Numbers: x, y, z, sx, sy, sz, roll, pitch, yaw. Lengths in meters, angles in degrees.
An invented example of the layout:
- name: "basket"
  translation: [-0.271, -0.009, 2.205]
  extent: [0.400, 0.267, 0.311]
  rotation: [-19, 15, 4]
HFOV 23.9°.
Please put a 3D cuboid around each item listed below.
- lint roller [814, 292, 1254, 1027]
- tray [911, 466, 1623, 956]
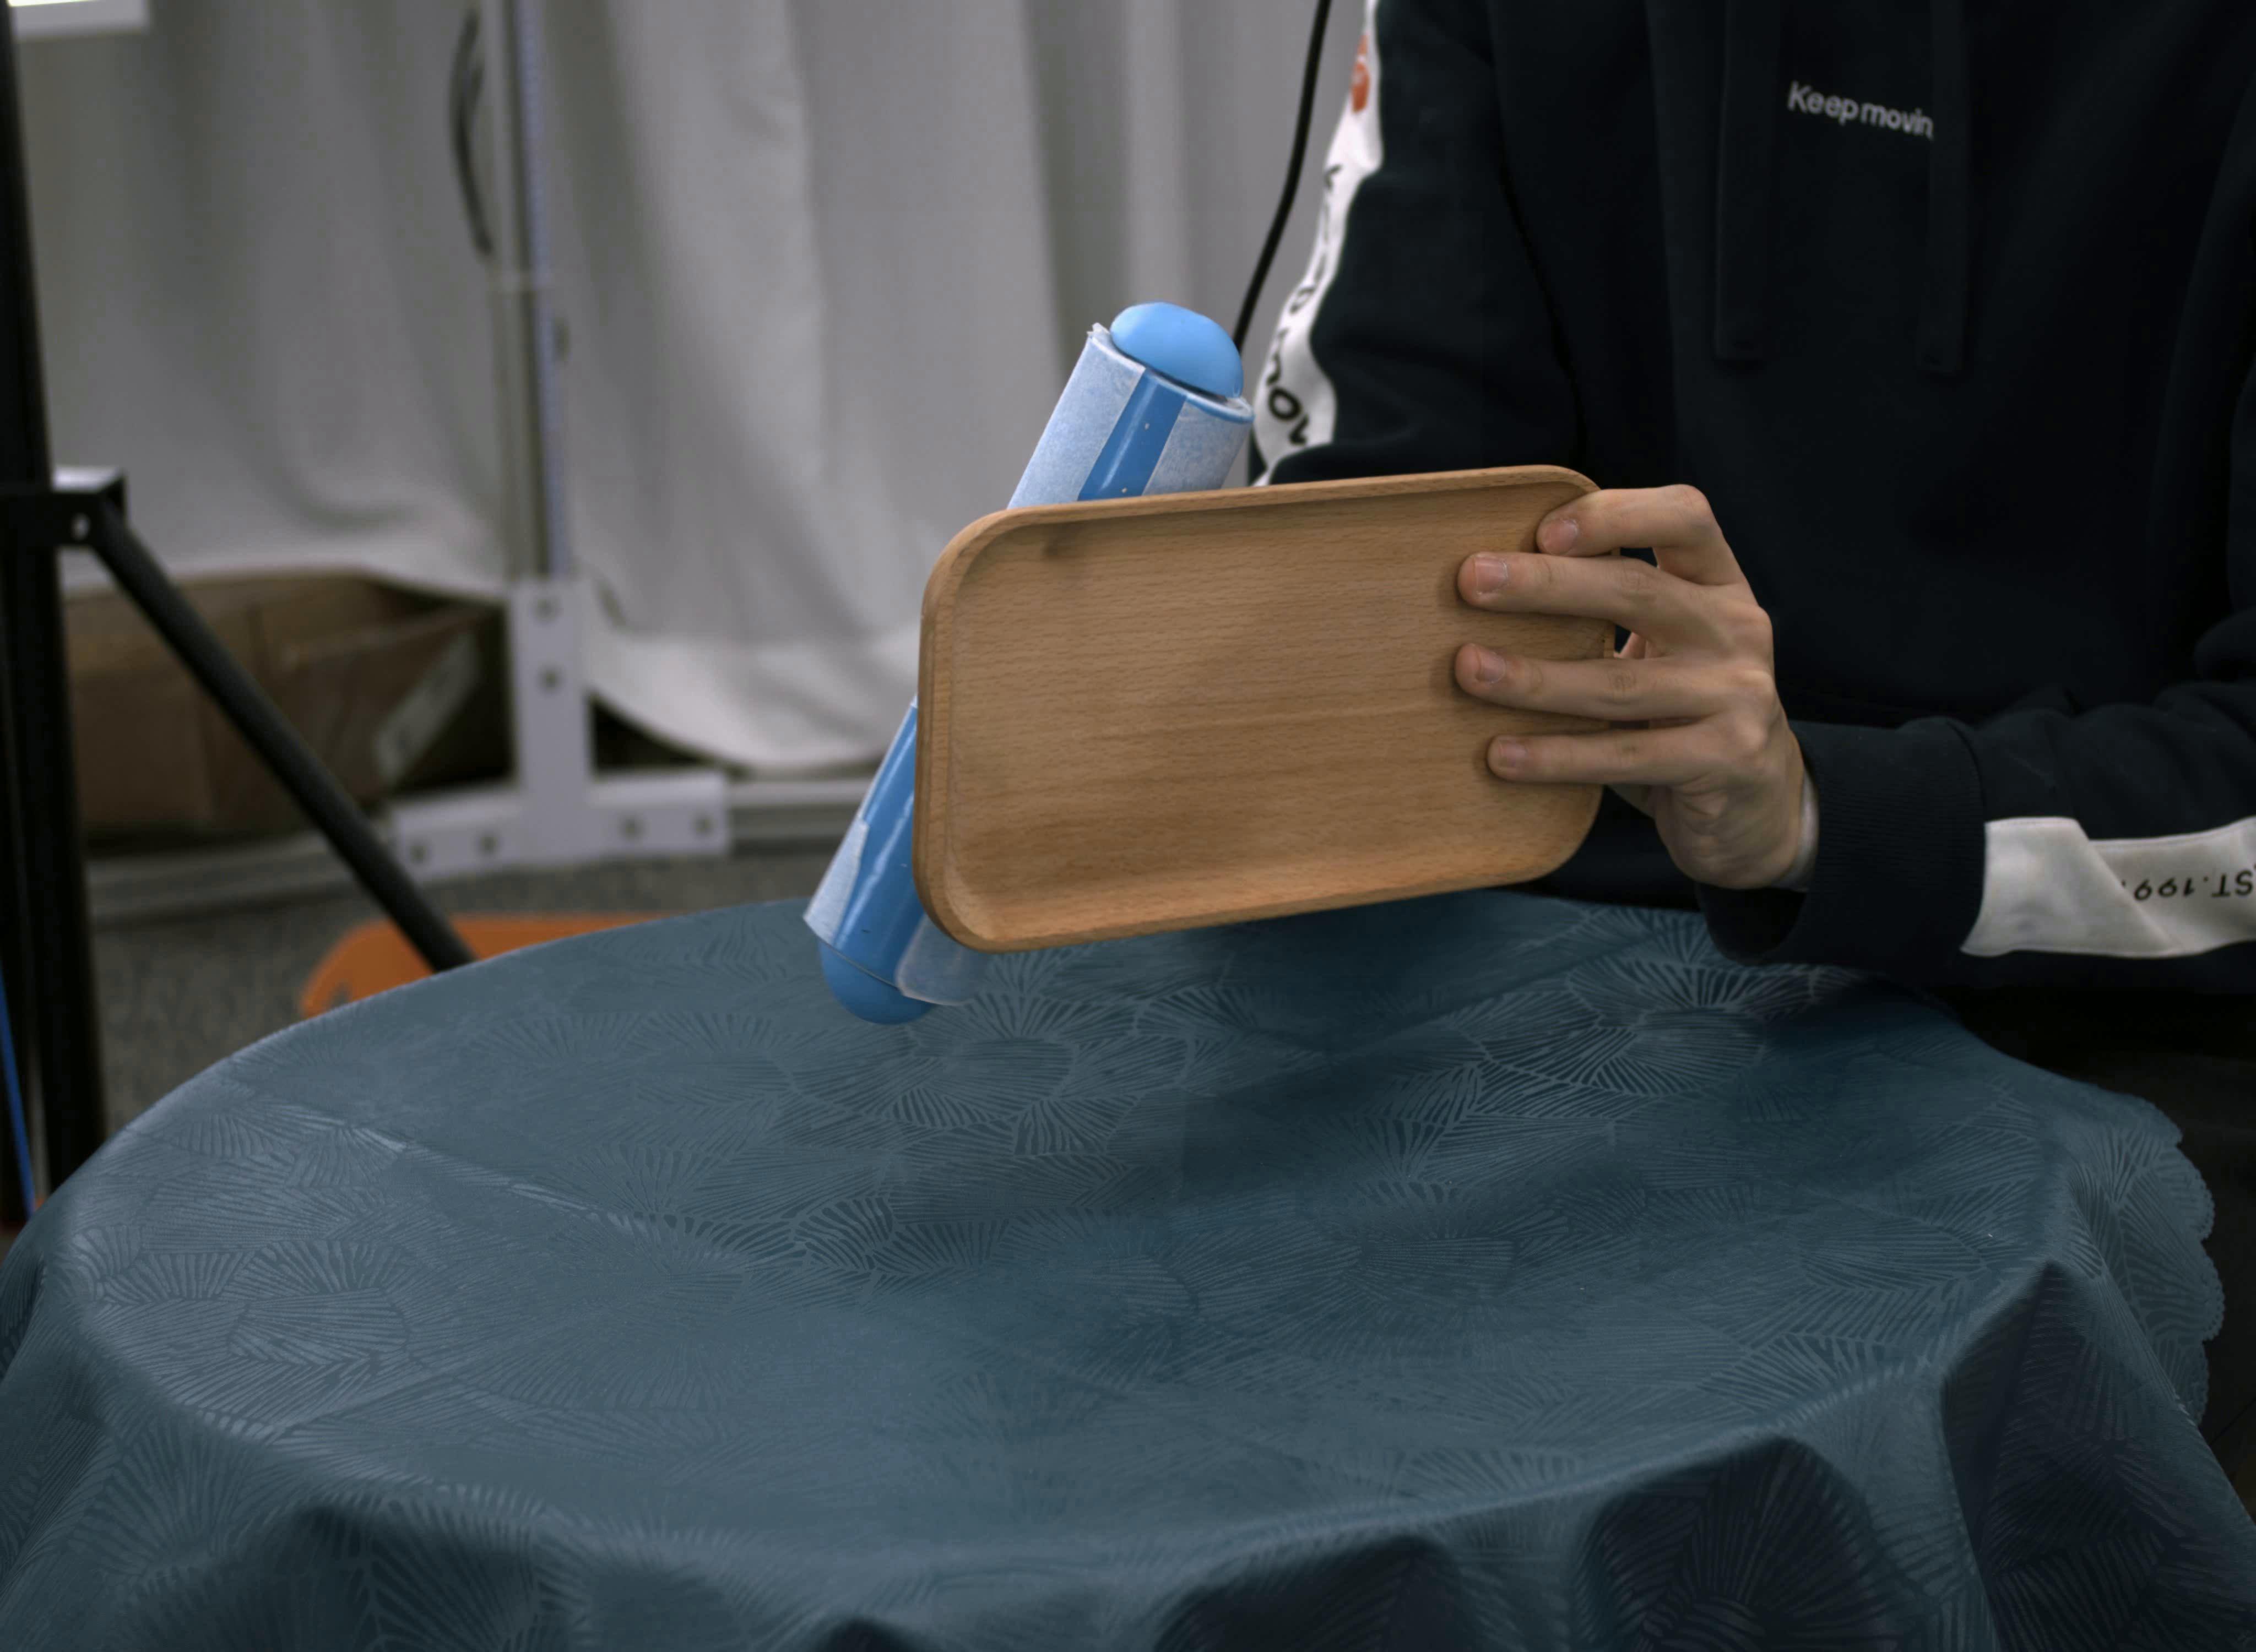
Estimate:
- name: "lint roller"
  translation: [-0.007, -0.044, 1.588]
  extent: [0.069, 0.230, 0.177]
  rotation: [28, 8, 20]
- name: "tray"
  translation: [0.043, -0.036, 1.528]
  extent: [0.244, 0.131, 0.023]
  rotation: [-5, 19, -36]
